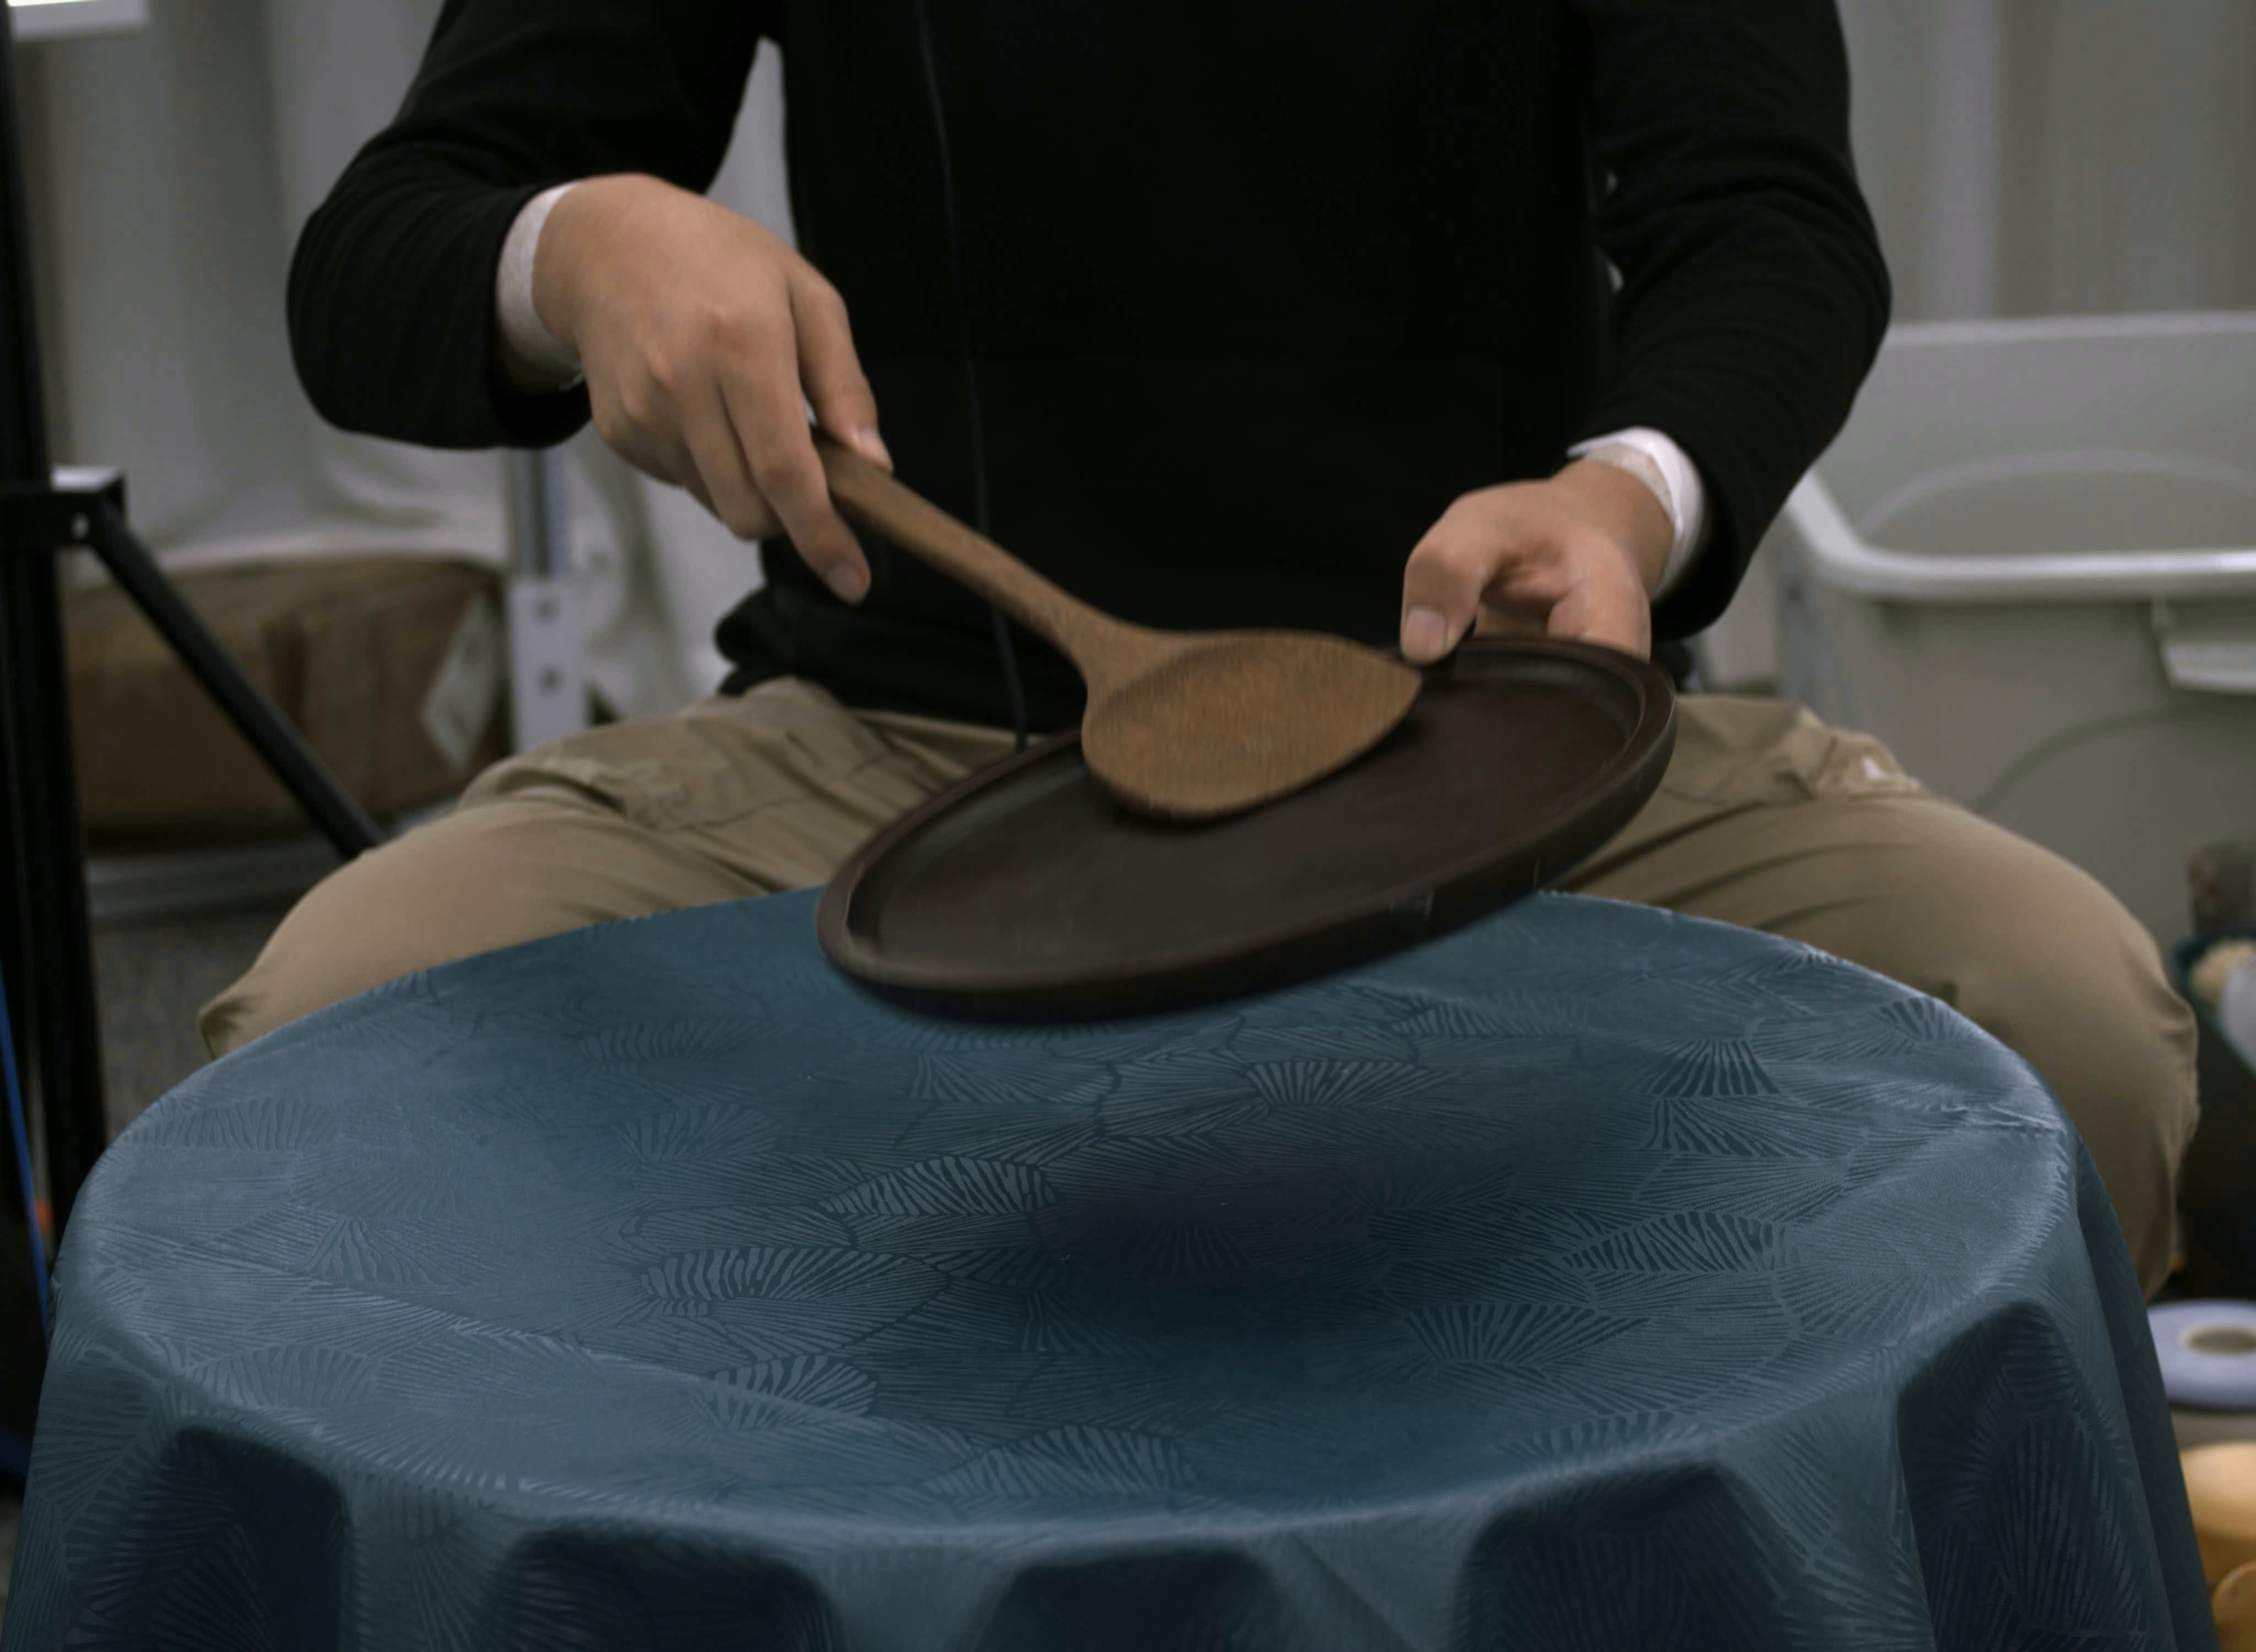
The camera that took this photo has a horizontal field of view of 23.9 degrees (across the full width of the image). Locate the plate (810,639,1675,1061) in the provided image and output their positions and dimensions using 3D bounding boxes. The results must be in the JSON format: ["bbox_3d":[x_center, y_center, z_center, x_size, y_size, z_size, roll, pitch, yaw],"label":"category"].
[{"bbox_3d":[0.033,0.006,1.504,0.254,0.029,0.256,-17,18,4],"label":"plate"}]

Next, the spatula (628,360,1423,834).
[{"bbox_3d":[-0.053,-0.082,1.673,0.095,0.015,0.395,-29,37,-23],"label":"spatula"}]
